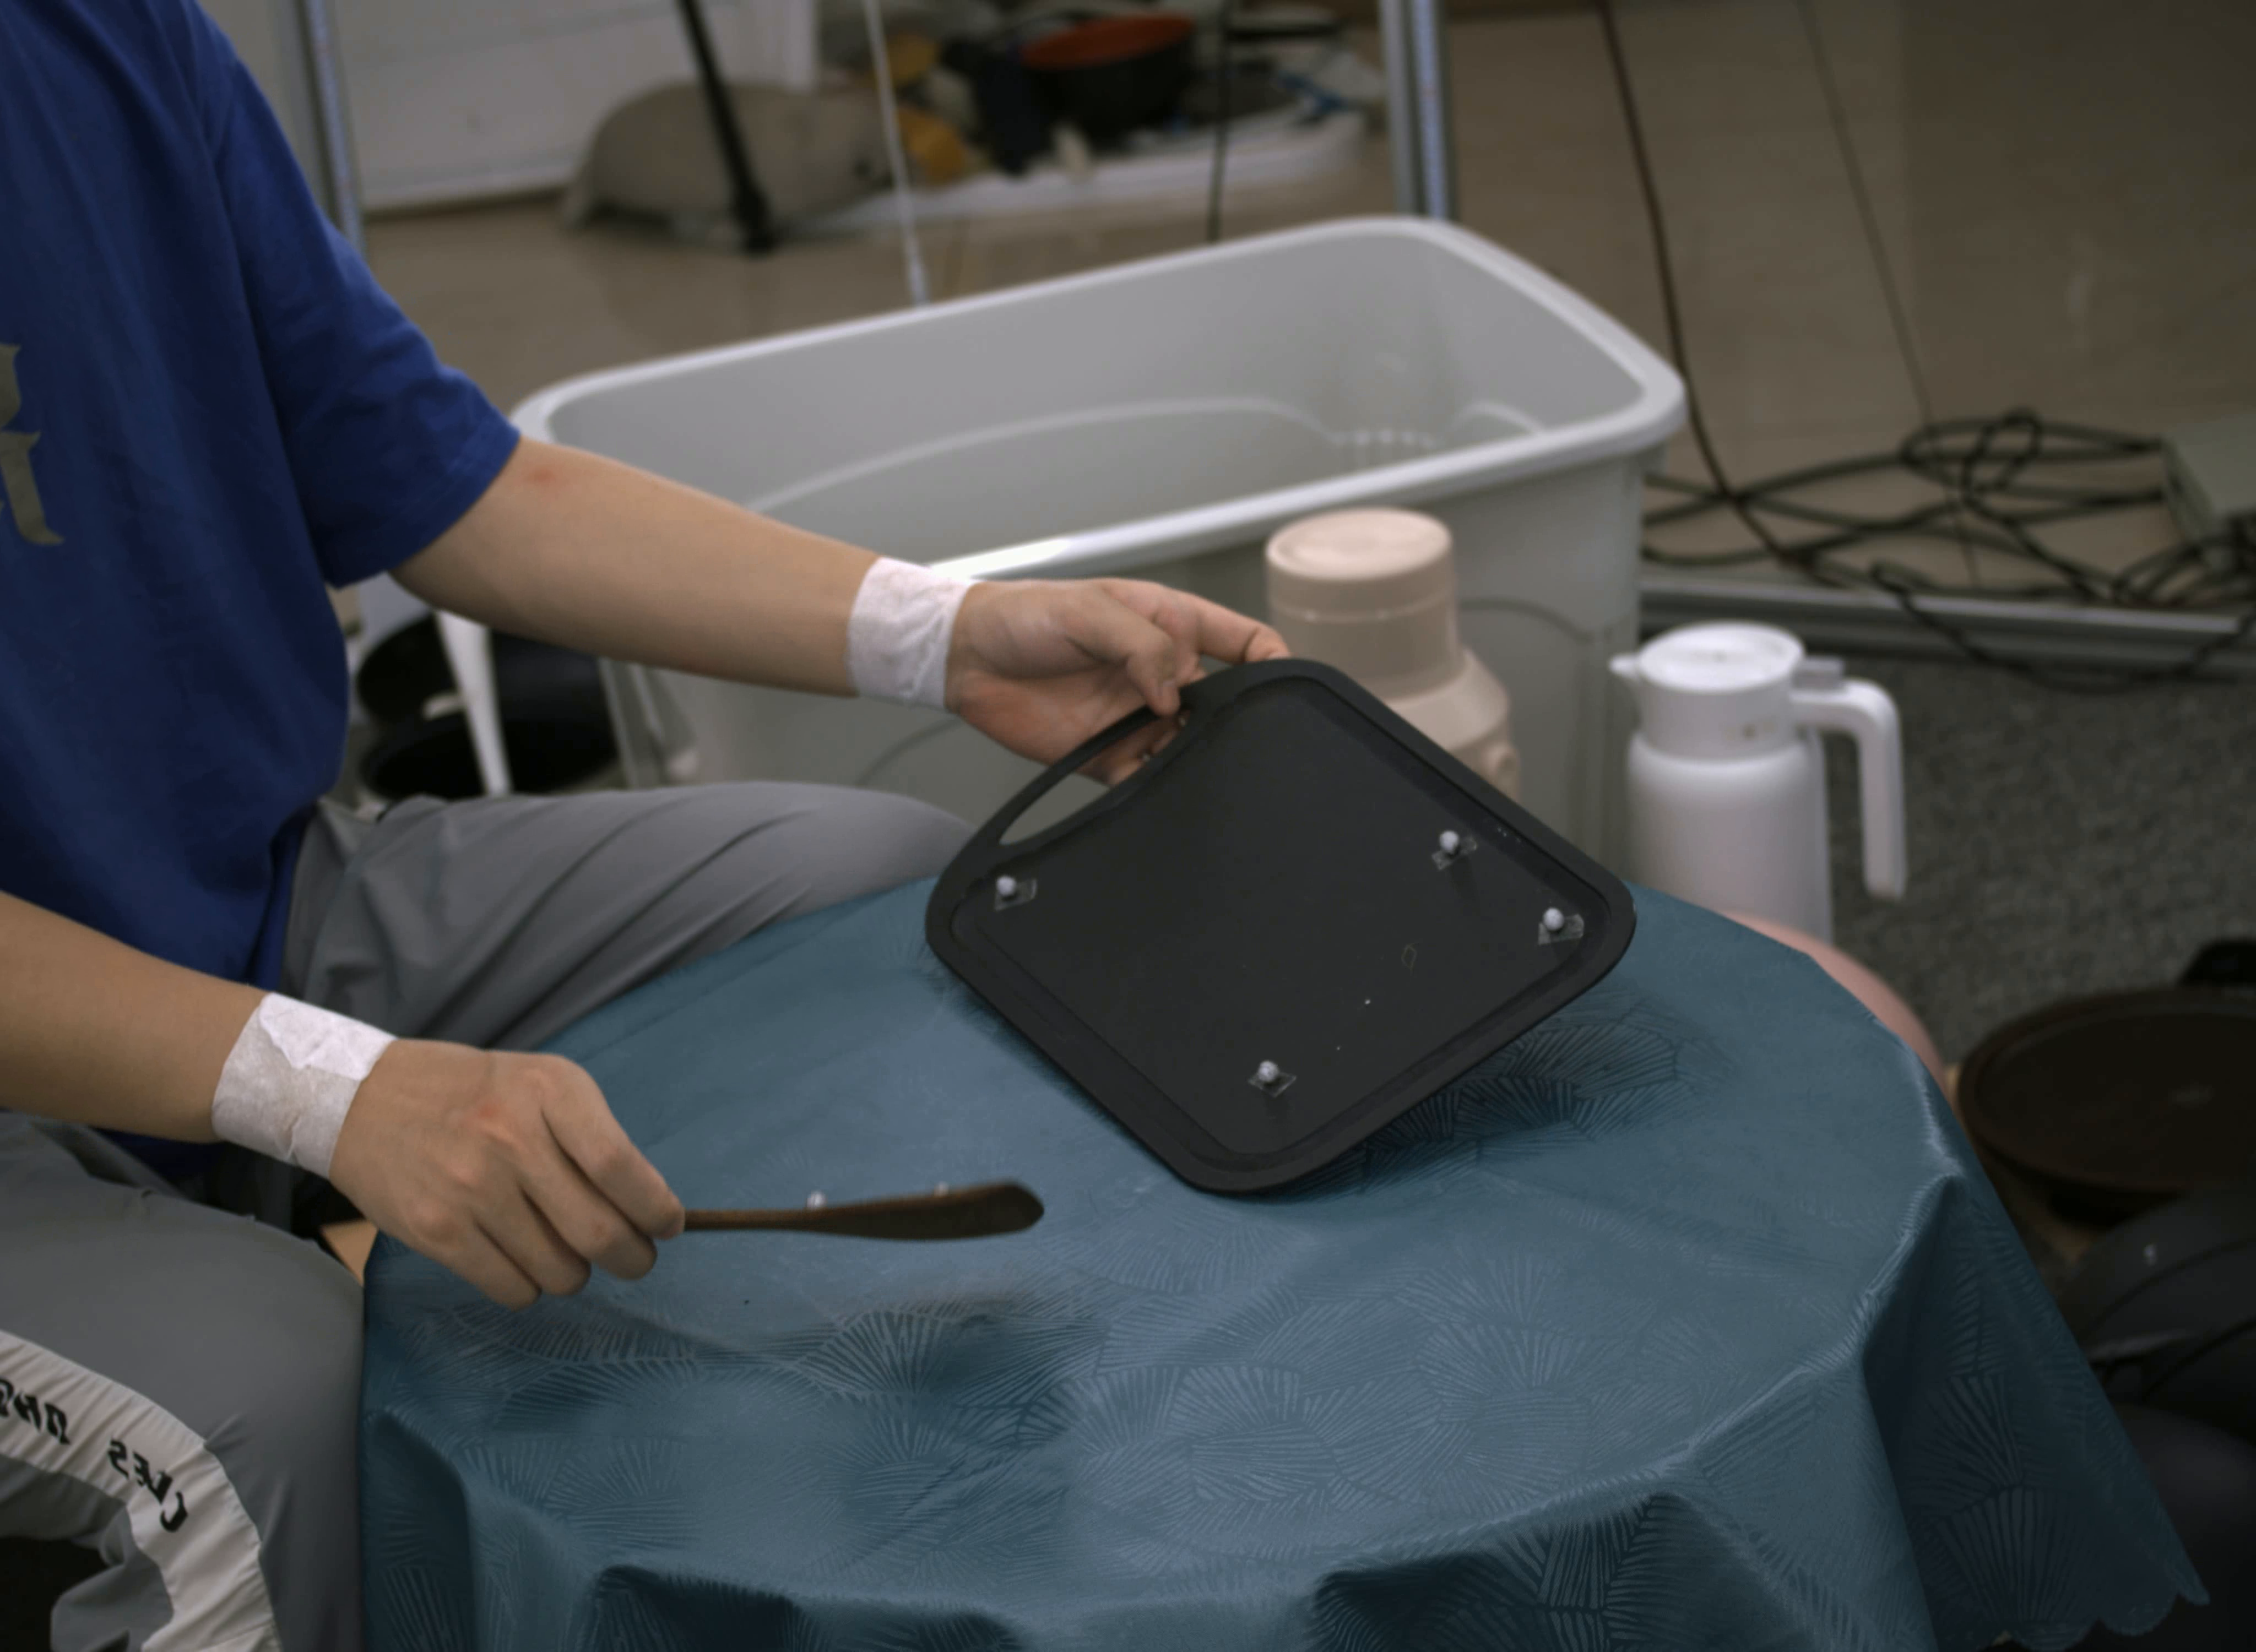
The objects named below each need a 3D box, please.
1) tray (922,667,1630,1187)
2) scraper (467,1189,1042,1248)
[{"bbox_3d":[0.049,0.031,2.266,0.210,0.010,0.321,-34,35,-11],"label":"tray"},{"bbox_3d":[-0.137,0.145,2.063,0.211,0.011,0.076,-2,-14,9],"label":"scraper"}]
